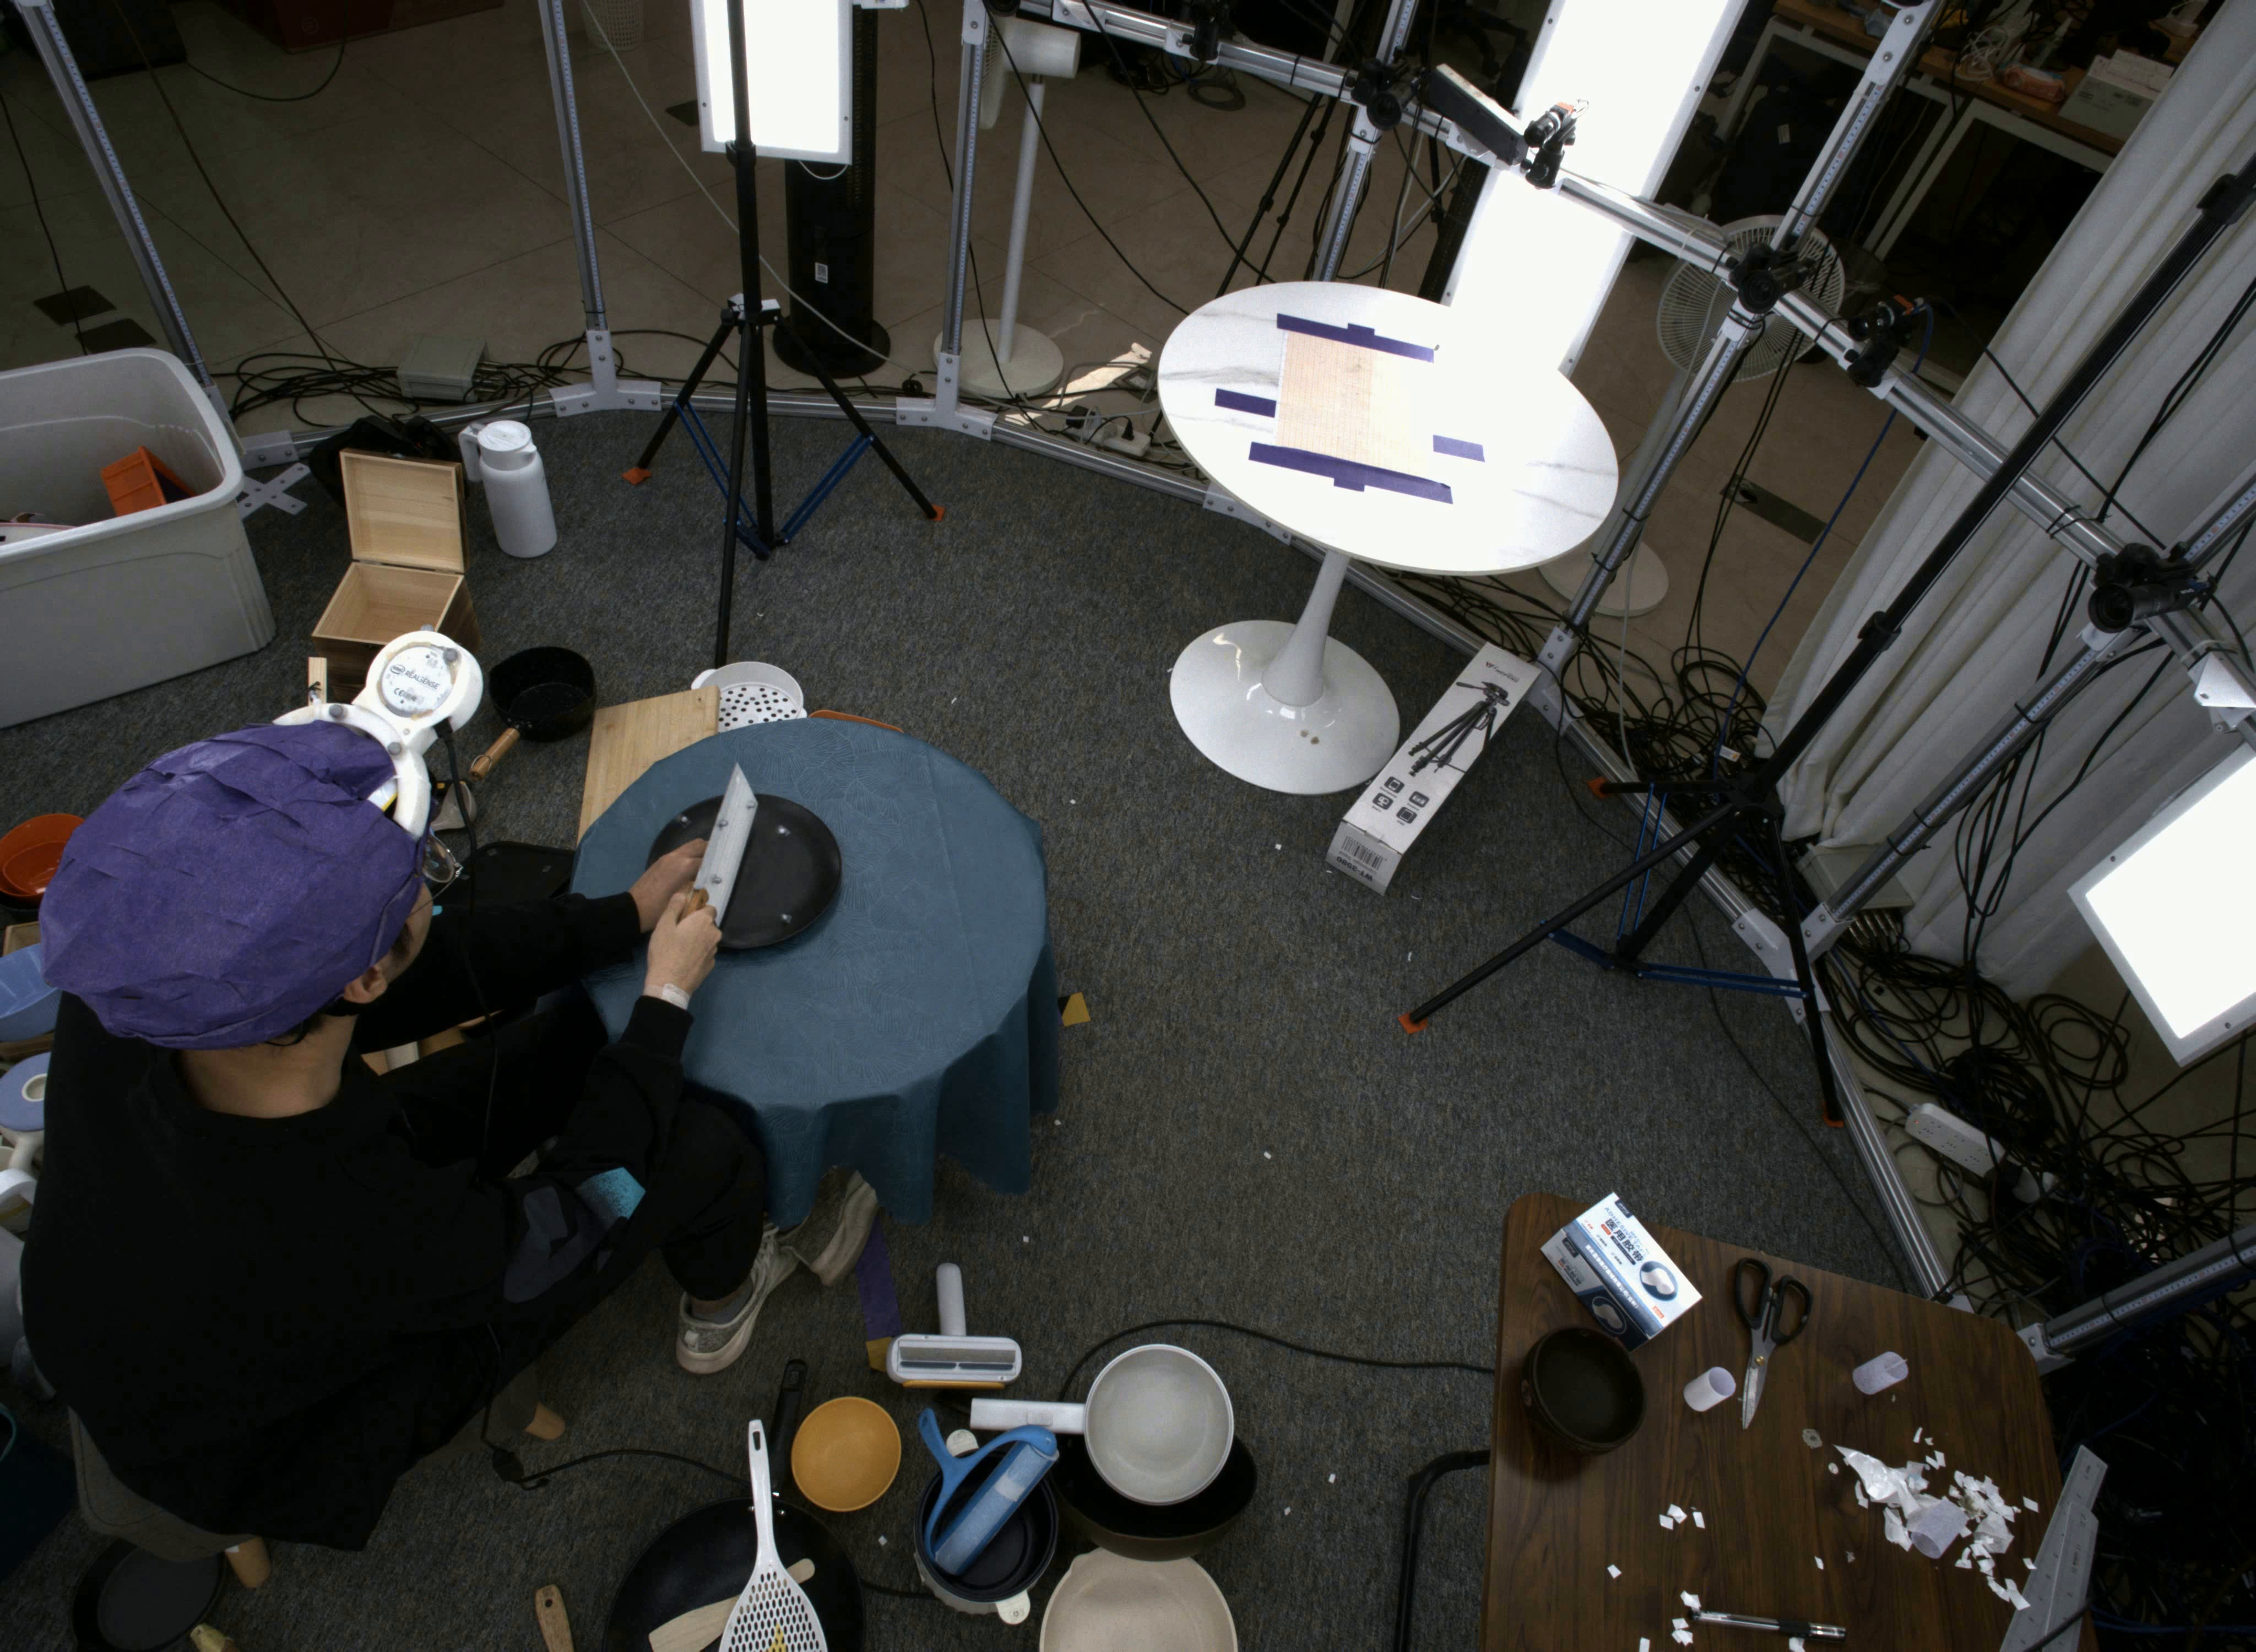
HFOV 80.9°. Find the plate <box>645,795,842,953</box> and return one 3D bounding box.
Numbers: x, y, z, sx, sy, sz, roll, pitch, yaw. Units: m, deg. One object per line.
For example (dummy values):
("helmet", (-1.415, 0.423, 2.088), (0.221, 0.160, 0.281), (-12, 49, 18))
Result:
("plate", (-0.485, 0.059, 1.637), (0.244, 0.024, 0.240), (8, 52, -9))

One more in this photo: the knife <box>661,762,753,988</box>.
("knife", (-0.496, 0.066, 1.544), (0.020, 0.096, 0.301), (1, 55, 7))
